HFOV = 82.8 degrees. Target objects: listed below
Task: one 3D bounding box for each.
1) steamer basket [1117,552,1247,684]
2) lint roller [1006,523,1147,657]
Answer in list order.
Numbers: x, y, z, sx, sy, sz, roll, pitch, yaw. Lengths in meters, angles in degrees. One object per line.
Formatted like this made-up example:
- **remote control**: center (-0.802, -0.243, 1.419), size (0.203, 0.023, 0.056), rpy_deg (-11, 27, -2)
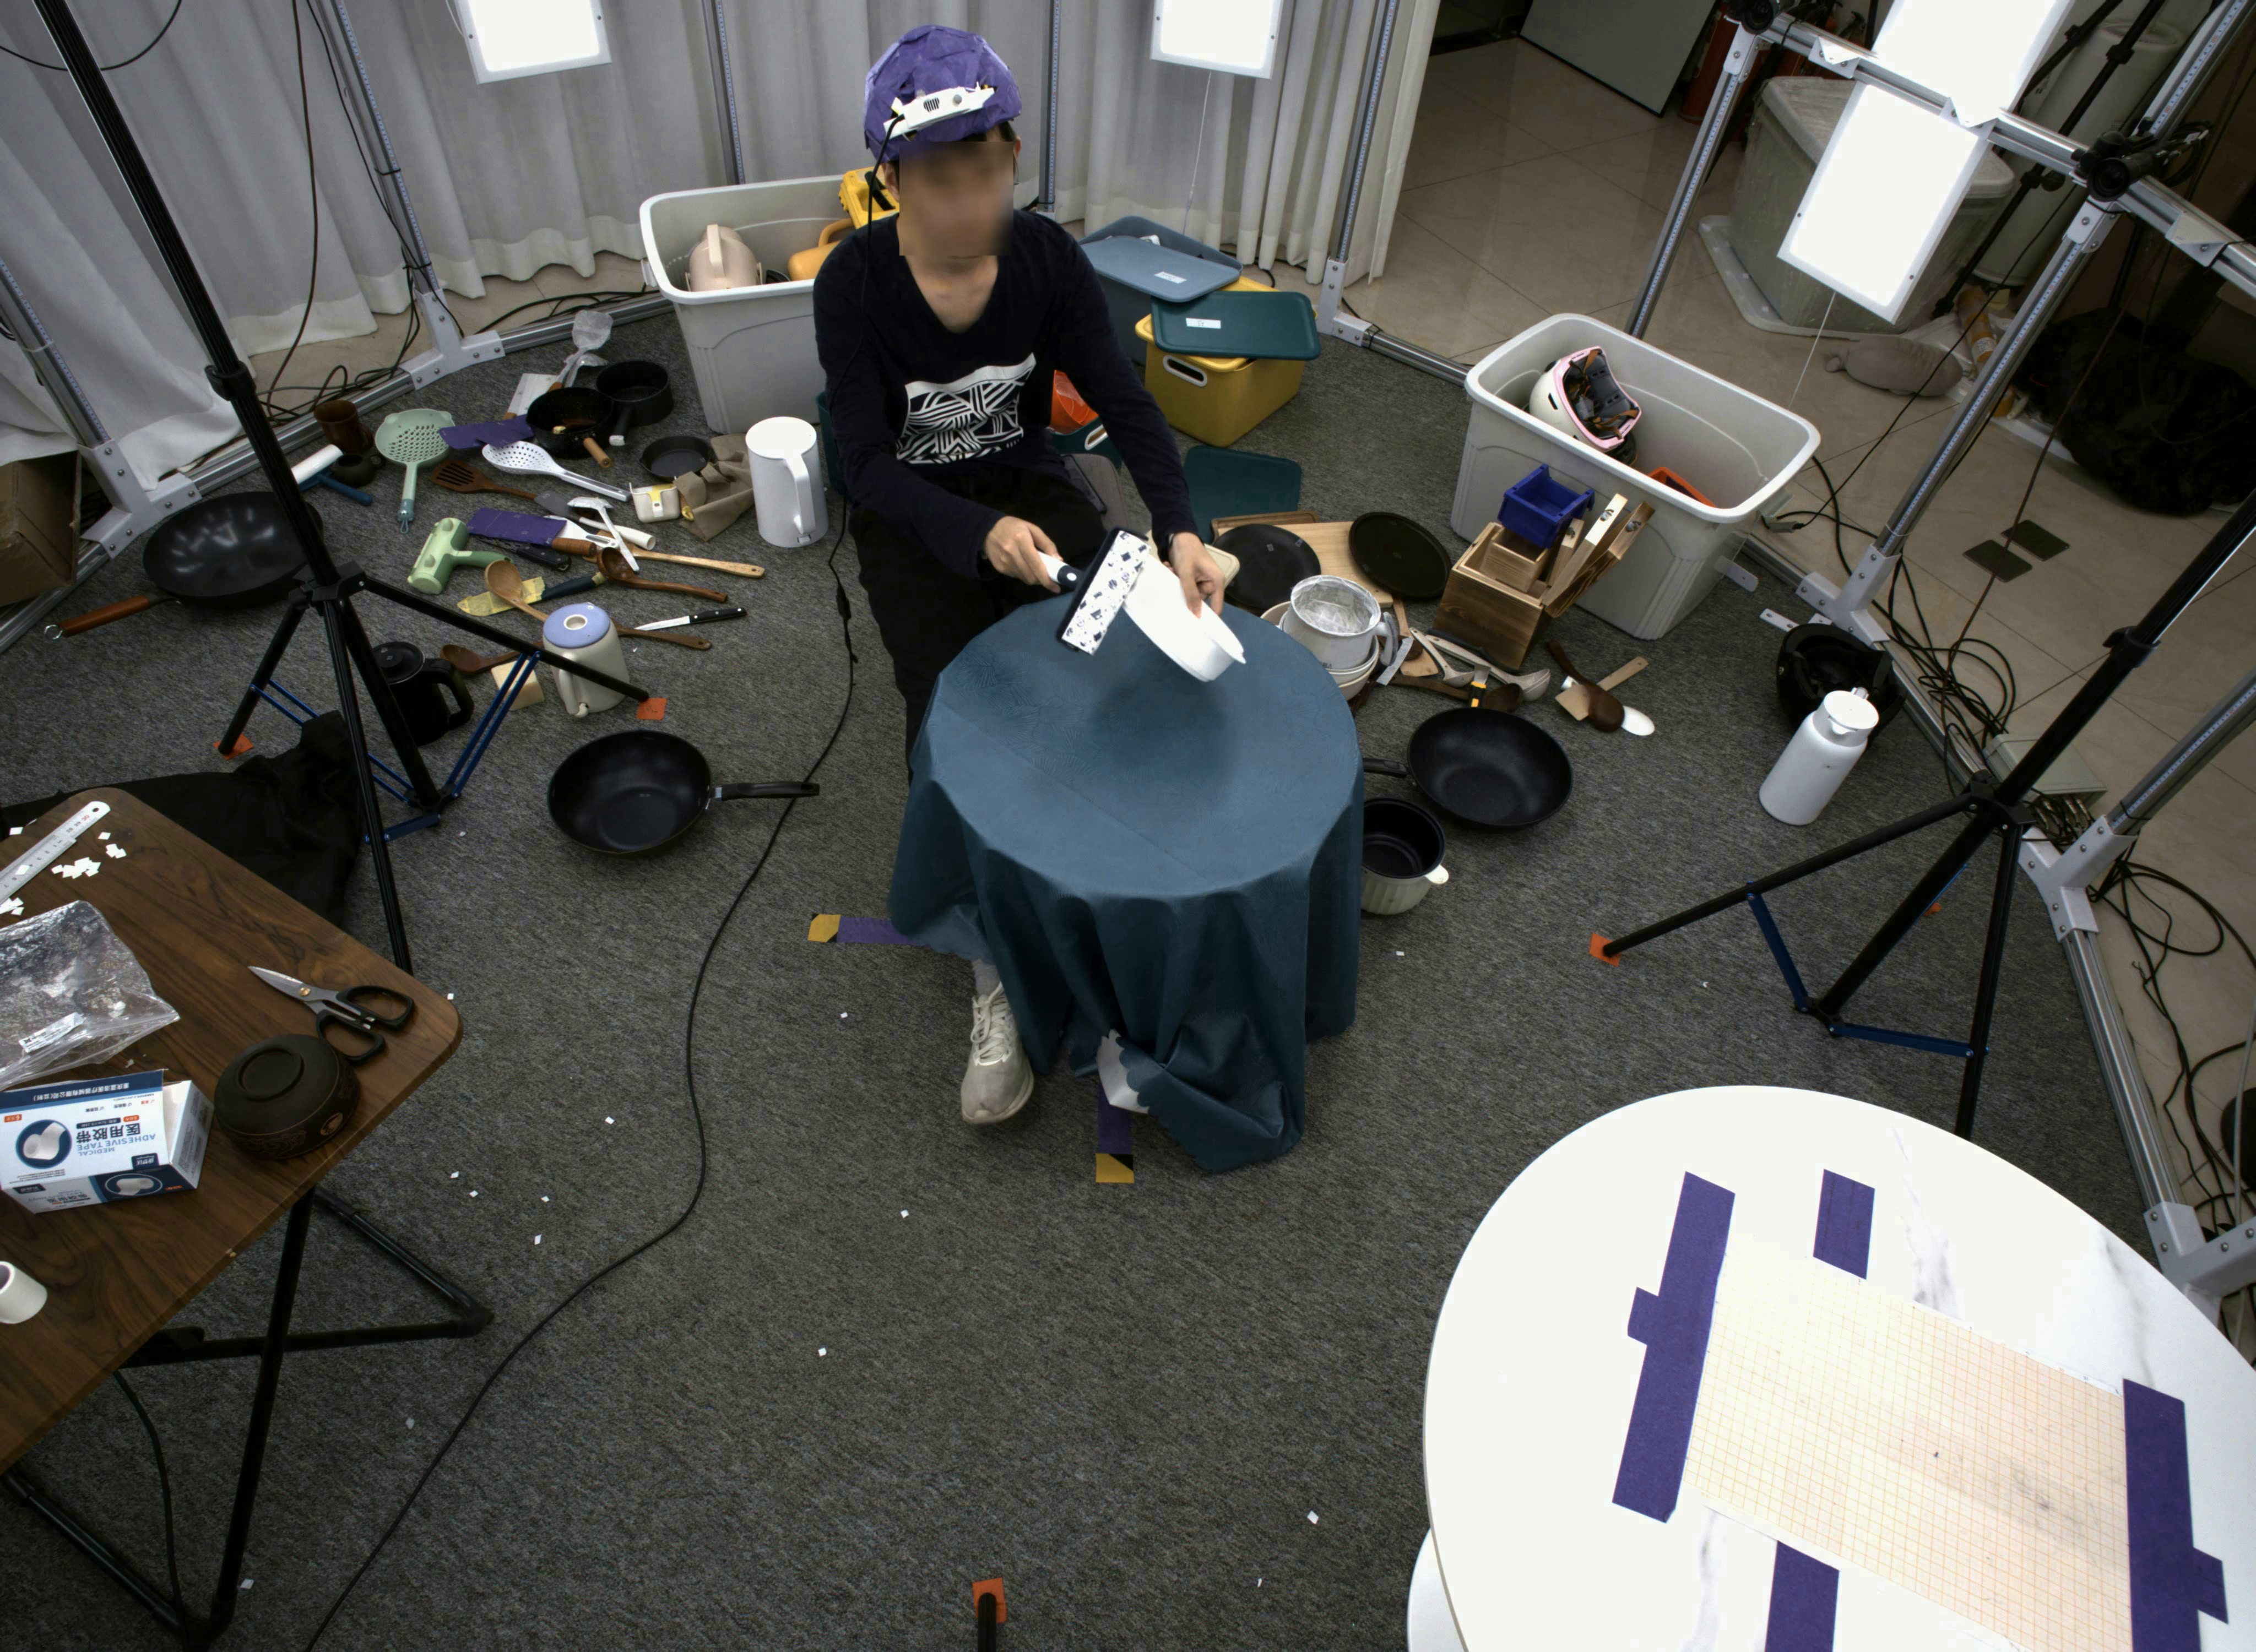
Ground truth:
- **steamer basket**: center (0.065, -0.280, 1.743), size (0.234, 0.069, 0.200), rpy_deg (52, 18, 24)
- **lint roller**: center (-0.095, -0.343, 1.737), size (0.251, 0.049, 0.176), rpy_deg (31, 94, 42)
